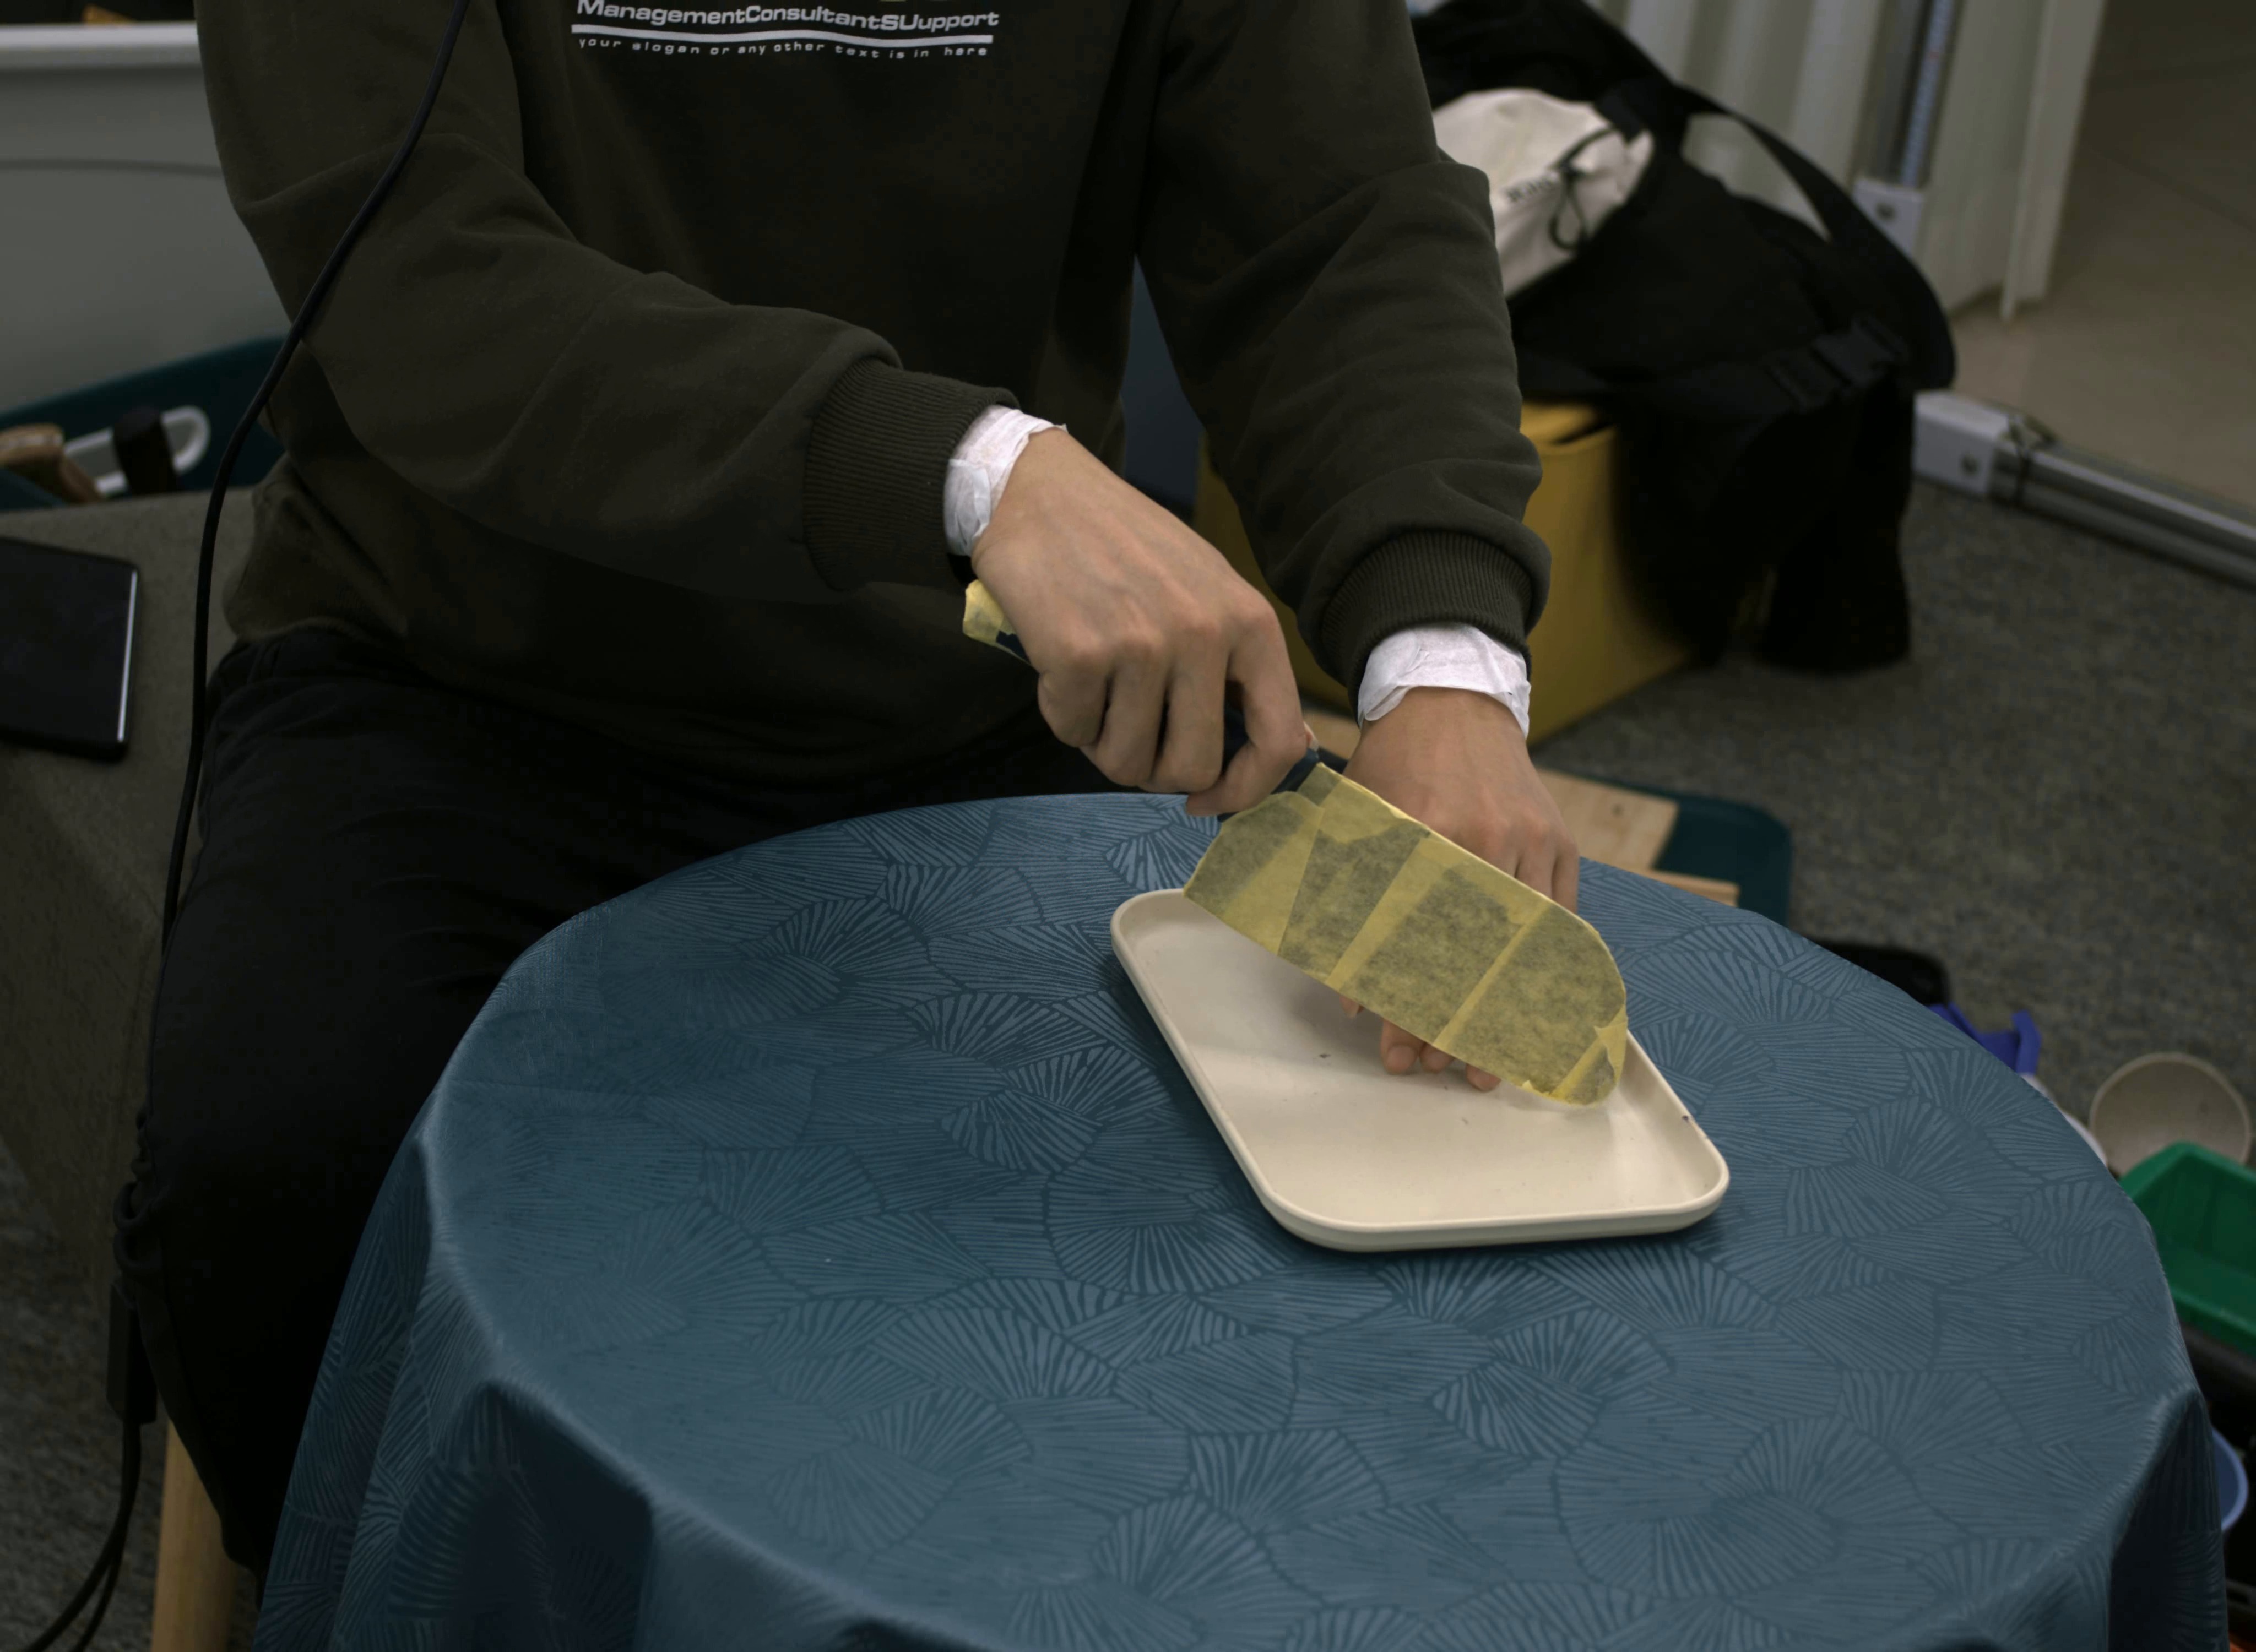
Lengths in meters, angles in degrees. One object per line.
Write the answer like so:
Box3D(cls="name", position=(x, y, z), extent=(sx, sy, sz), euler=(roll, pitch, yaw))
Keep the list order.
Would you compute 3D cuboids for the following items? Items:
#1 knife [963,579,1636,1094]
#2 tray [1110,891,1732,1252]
Box3D(cls="knife", position=(0.057, 0.007, 1.852), extent=(0.288, 0.081, 0.027), euler=(34, 23, -6))
Box3D(cls="tray", position=(0.100, 0.083, 1.888), extent=(0.170, 0.017, 0.242), euler=(-3, 28, -17))
